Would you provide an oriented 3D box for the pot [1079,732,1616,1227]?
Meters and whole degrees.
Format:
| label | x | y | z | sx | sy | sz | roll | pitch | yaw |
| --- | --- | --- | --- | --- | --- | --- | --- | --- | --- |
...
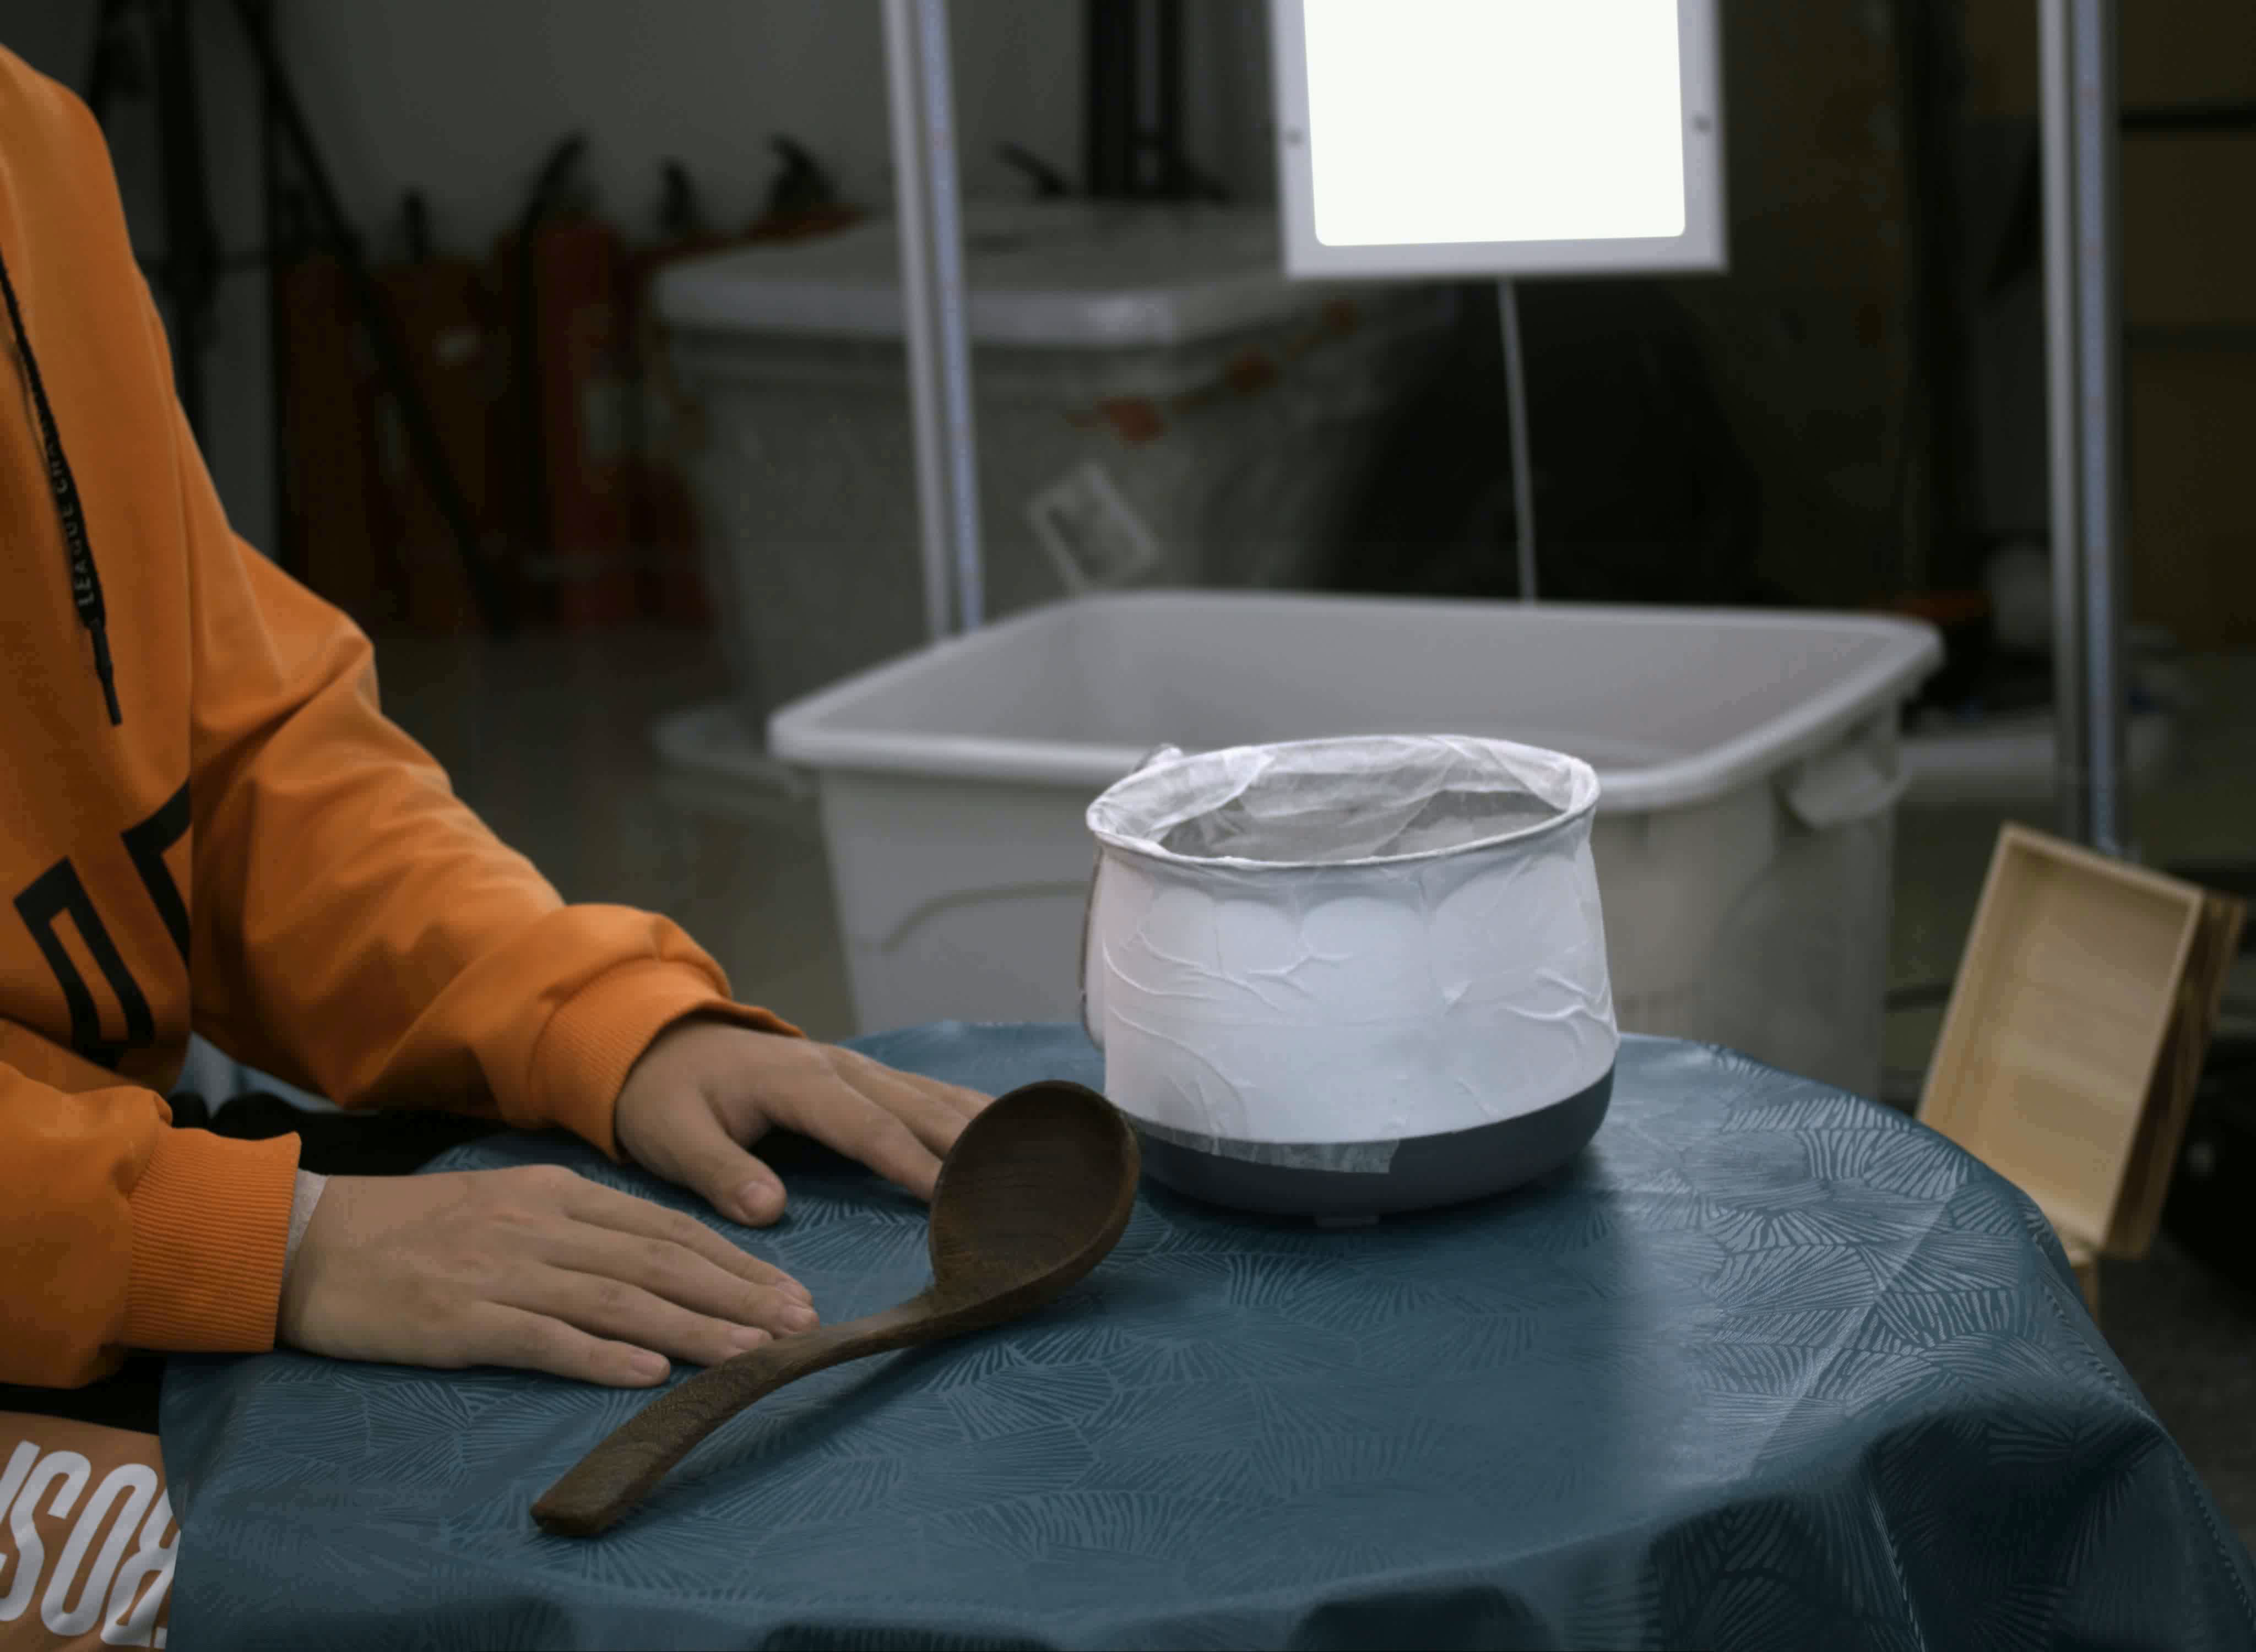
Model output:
| label | x | y | z | sx | sy | sz | roll | pitch | yaw |
| --- | --- | --- | --- | --- | --- | --- | --- | --- | --- |
| pot | 0.061 | 0.047 | 1.910 | 0.174 | 0.137 | 0.238 | -14 | 17 | -36 |

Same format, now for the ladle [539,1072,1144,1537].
| label | x | y | z | sx | sy | sz | roll | pitch | yaw |
| --- | --- | --- | --- | --- | --- | --- | --- | --- | --- |
| ladle | -0.090 | 0.143 | 1.715 | 0.077 | 0.071 | 0.267 | 3 | 15 | 37 |
